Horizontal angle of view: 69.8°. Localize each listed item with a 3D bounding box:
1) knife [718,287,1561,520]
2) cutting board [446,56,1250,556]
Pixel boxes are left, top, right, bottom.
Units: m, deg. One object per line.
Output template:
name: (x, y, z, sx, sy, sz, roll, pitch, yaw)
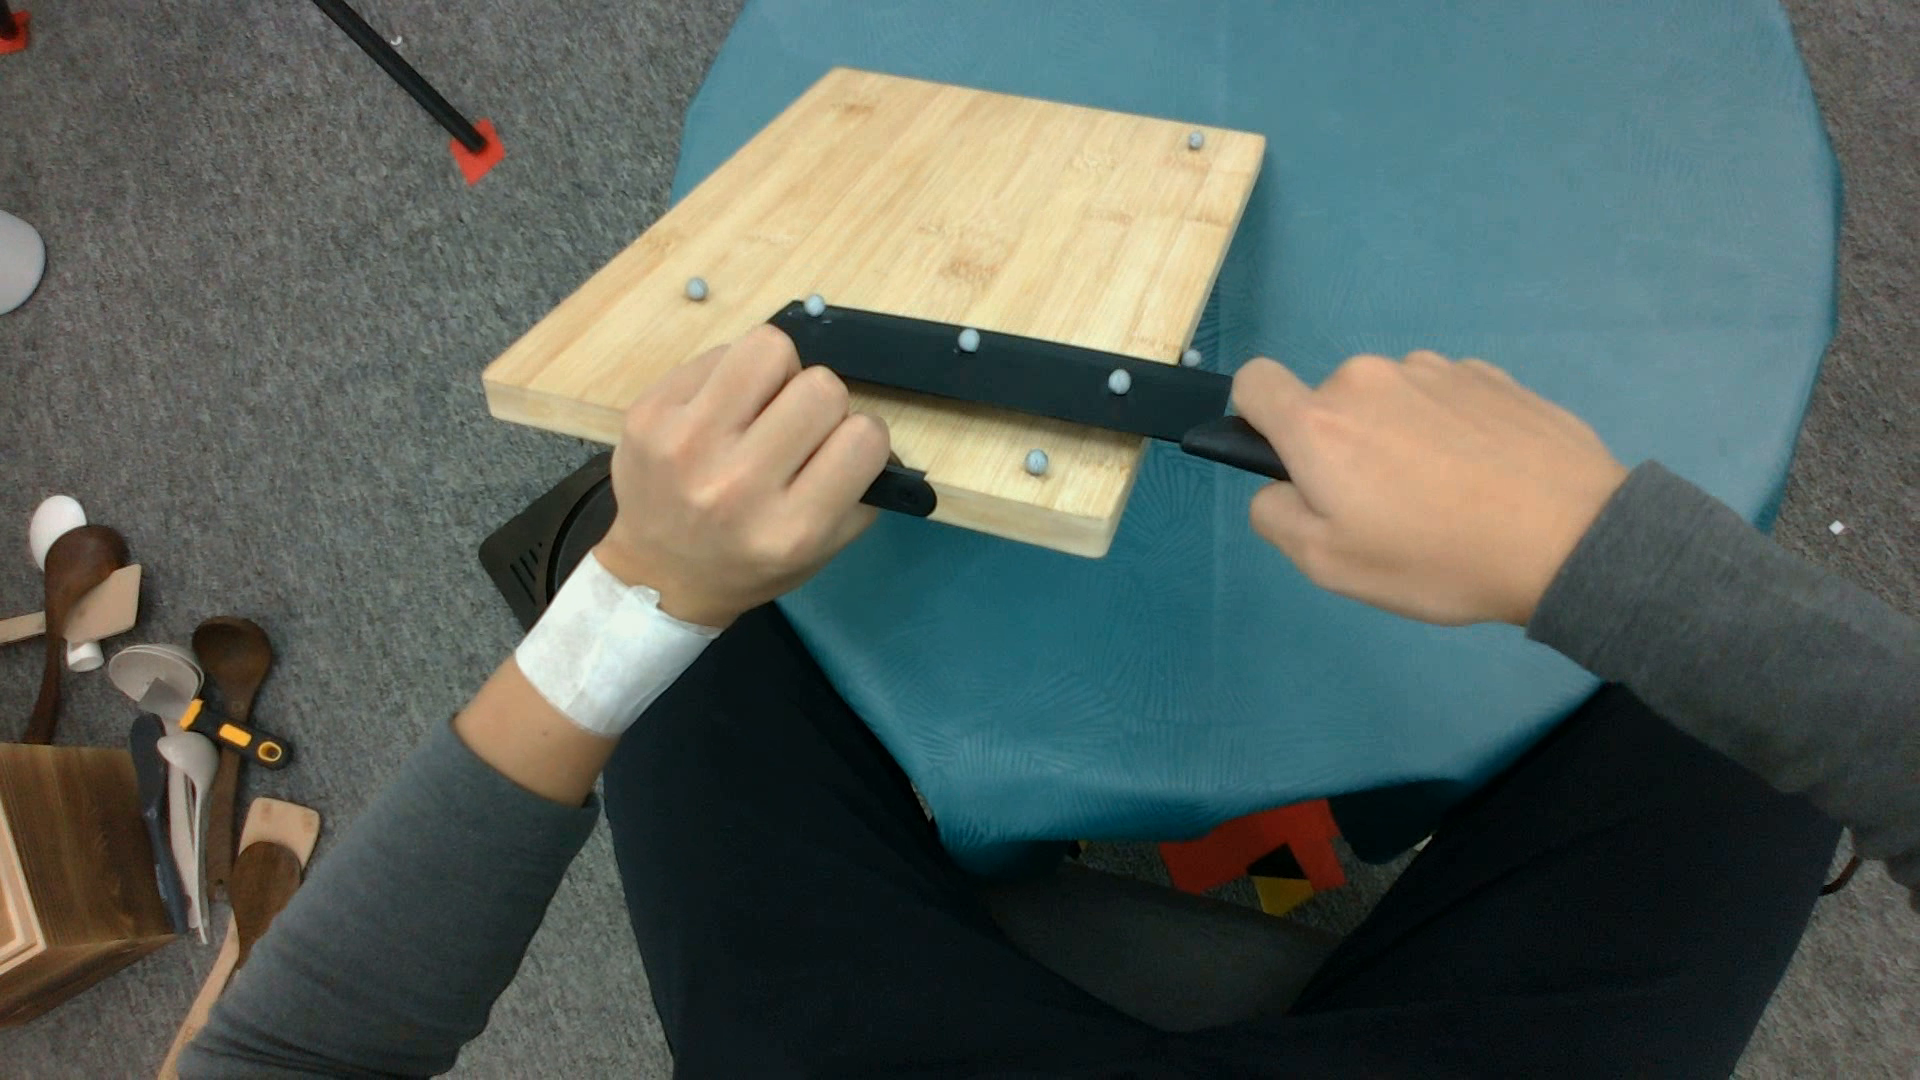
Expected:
knife: (0.060, -0.055, 0.501, 0.302, 0.081, 0.021, 15, 124, 14)
cutting board: (-0.019, -0.129, 0.609, 0.250, 0.023, 0.350, 12, 40, 12)
